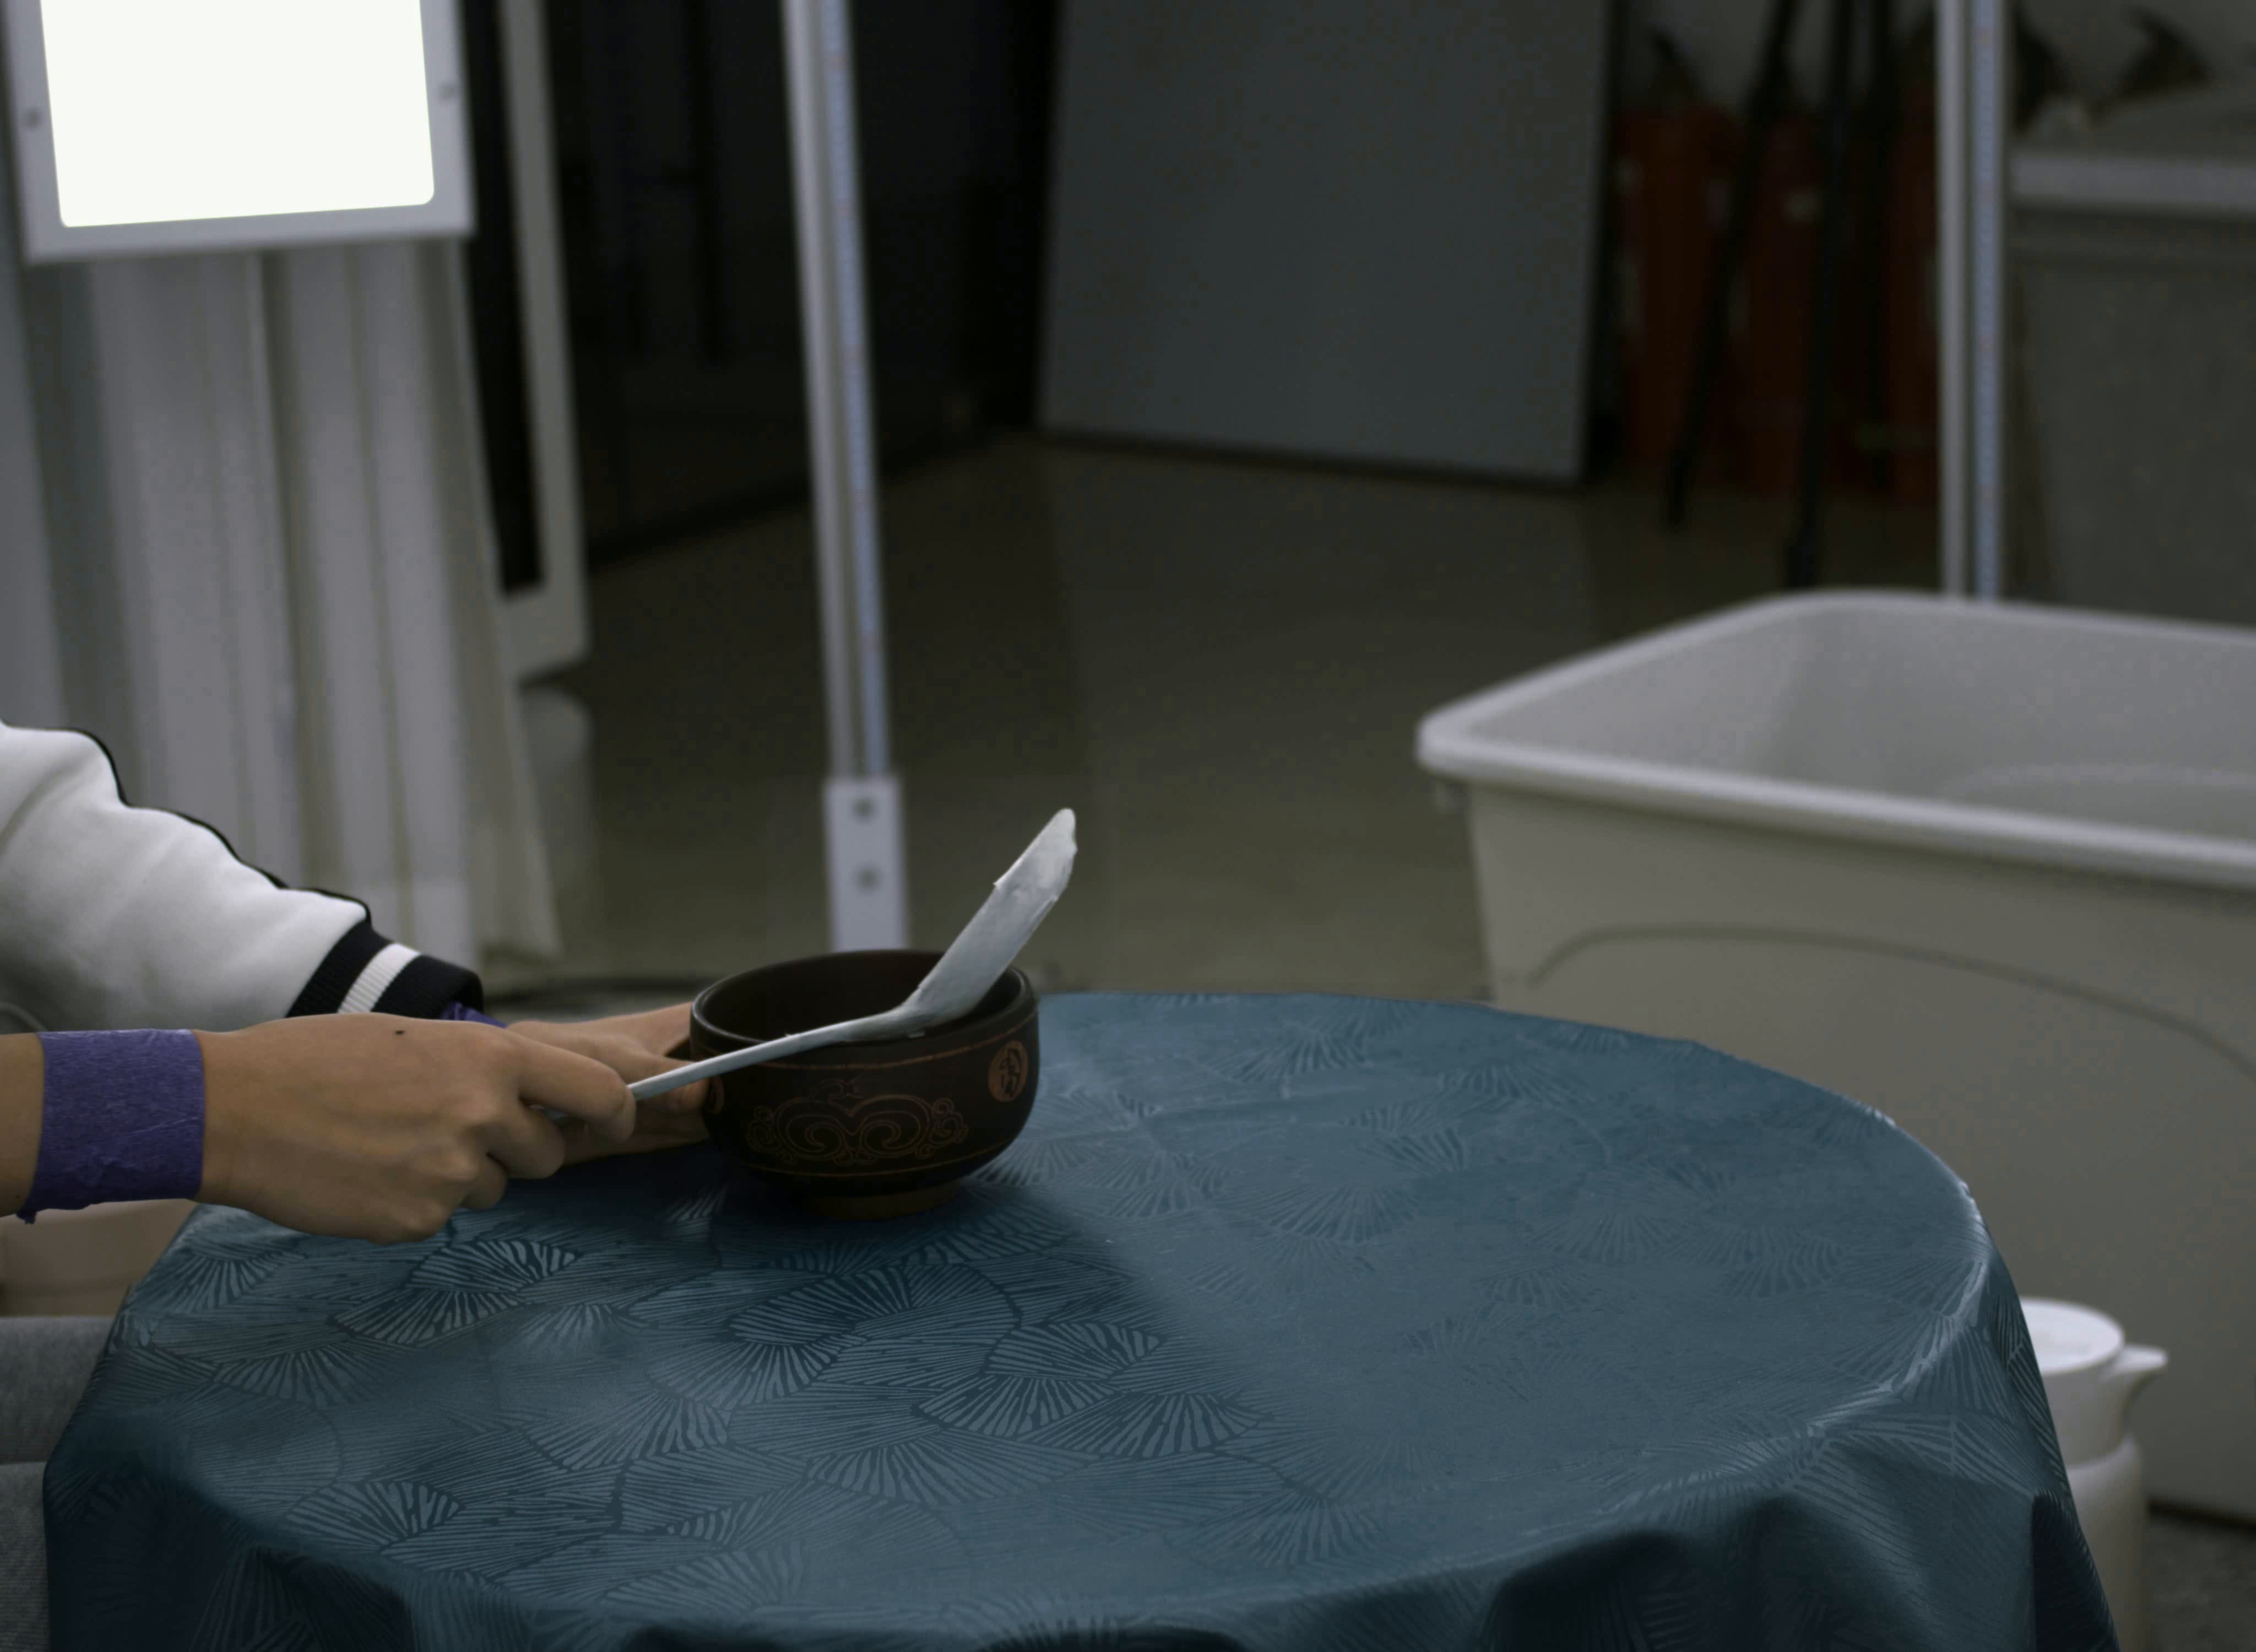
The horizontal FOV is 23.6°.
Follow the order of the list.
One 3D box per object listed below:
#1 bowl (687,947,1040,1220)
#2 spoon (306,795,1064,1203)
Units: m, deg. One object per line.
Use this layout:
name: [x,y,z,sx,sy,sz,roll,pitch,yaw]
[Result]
bowl: [-0.086,0.088,1.777,0.116,0.070,0.118,-4,13,0]
spoon: [-0.137,0.057,1.714,0.272,0.060,0.101,-16,-25,-20]
